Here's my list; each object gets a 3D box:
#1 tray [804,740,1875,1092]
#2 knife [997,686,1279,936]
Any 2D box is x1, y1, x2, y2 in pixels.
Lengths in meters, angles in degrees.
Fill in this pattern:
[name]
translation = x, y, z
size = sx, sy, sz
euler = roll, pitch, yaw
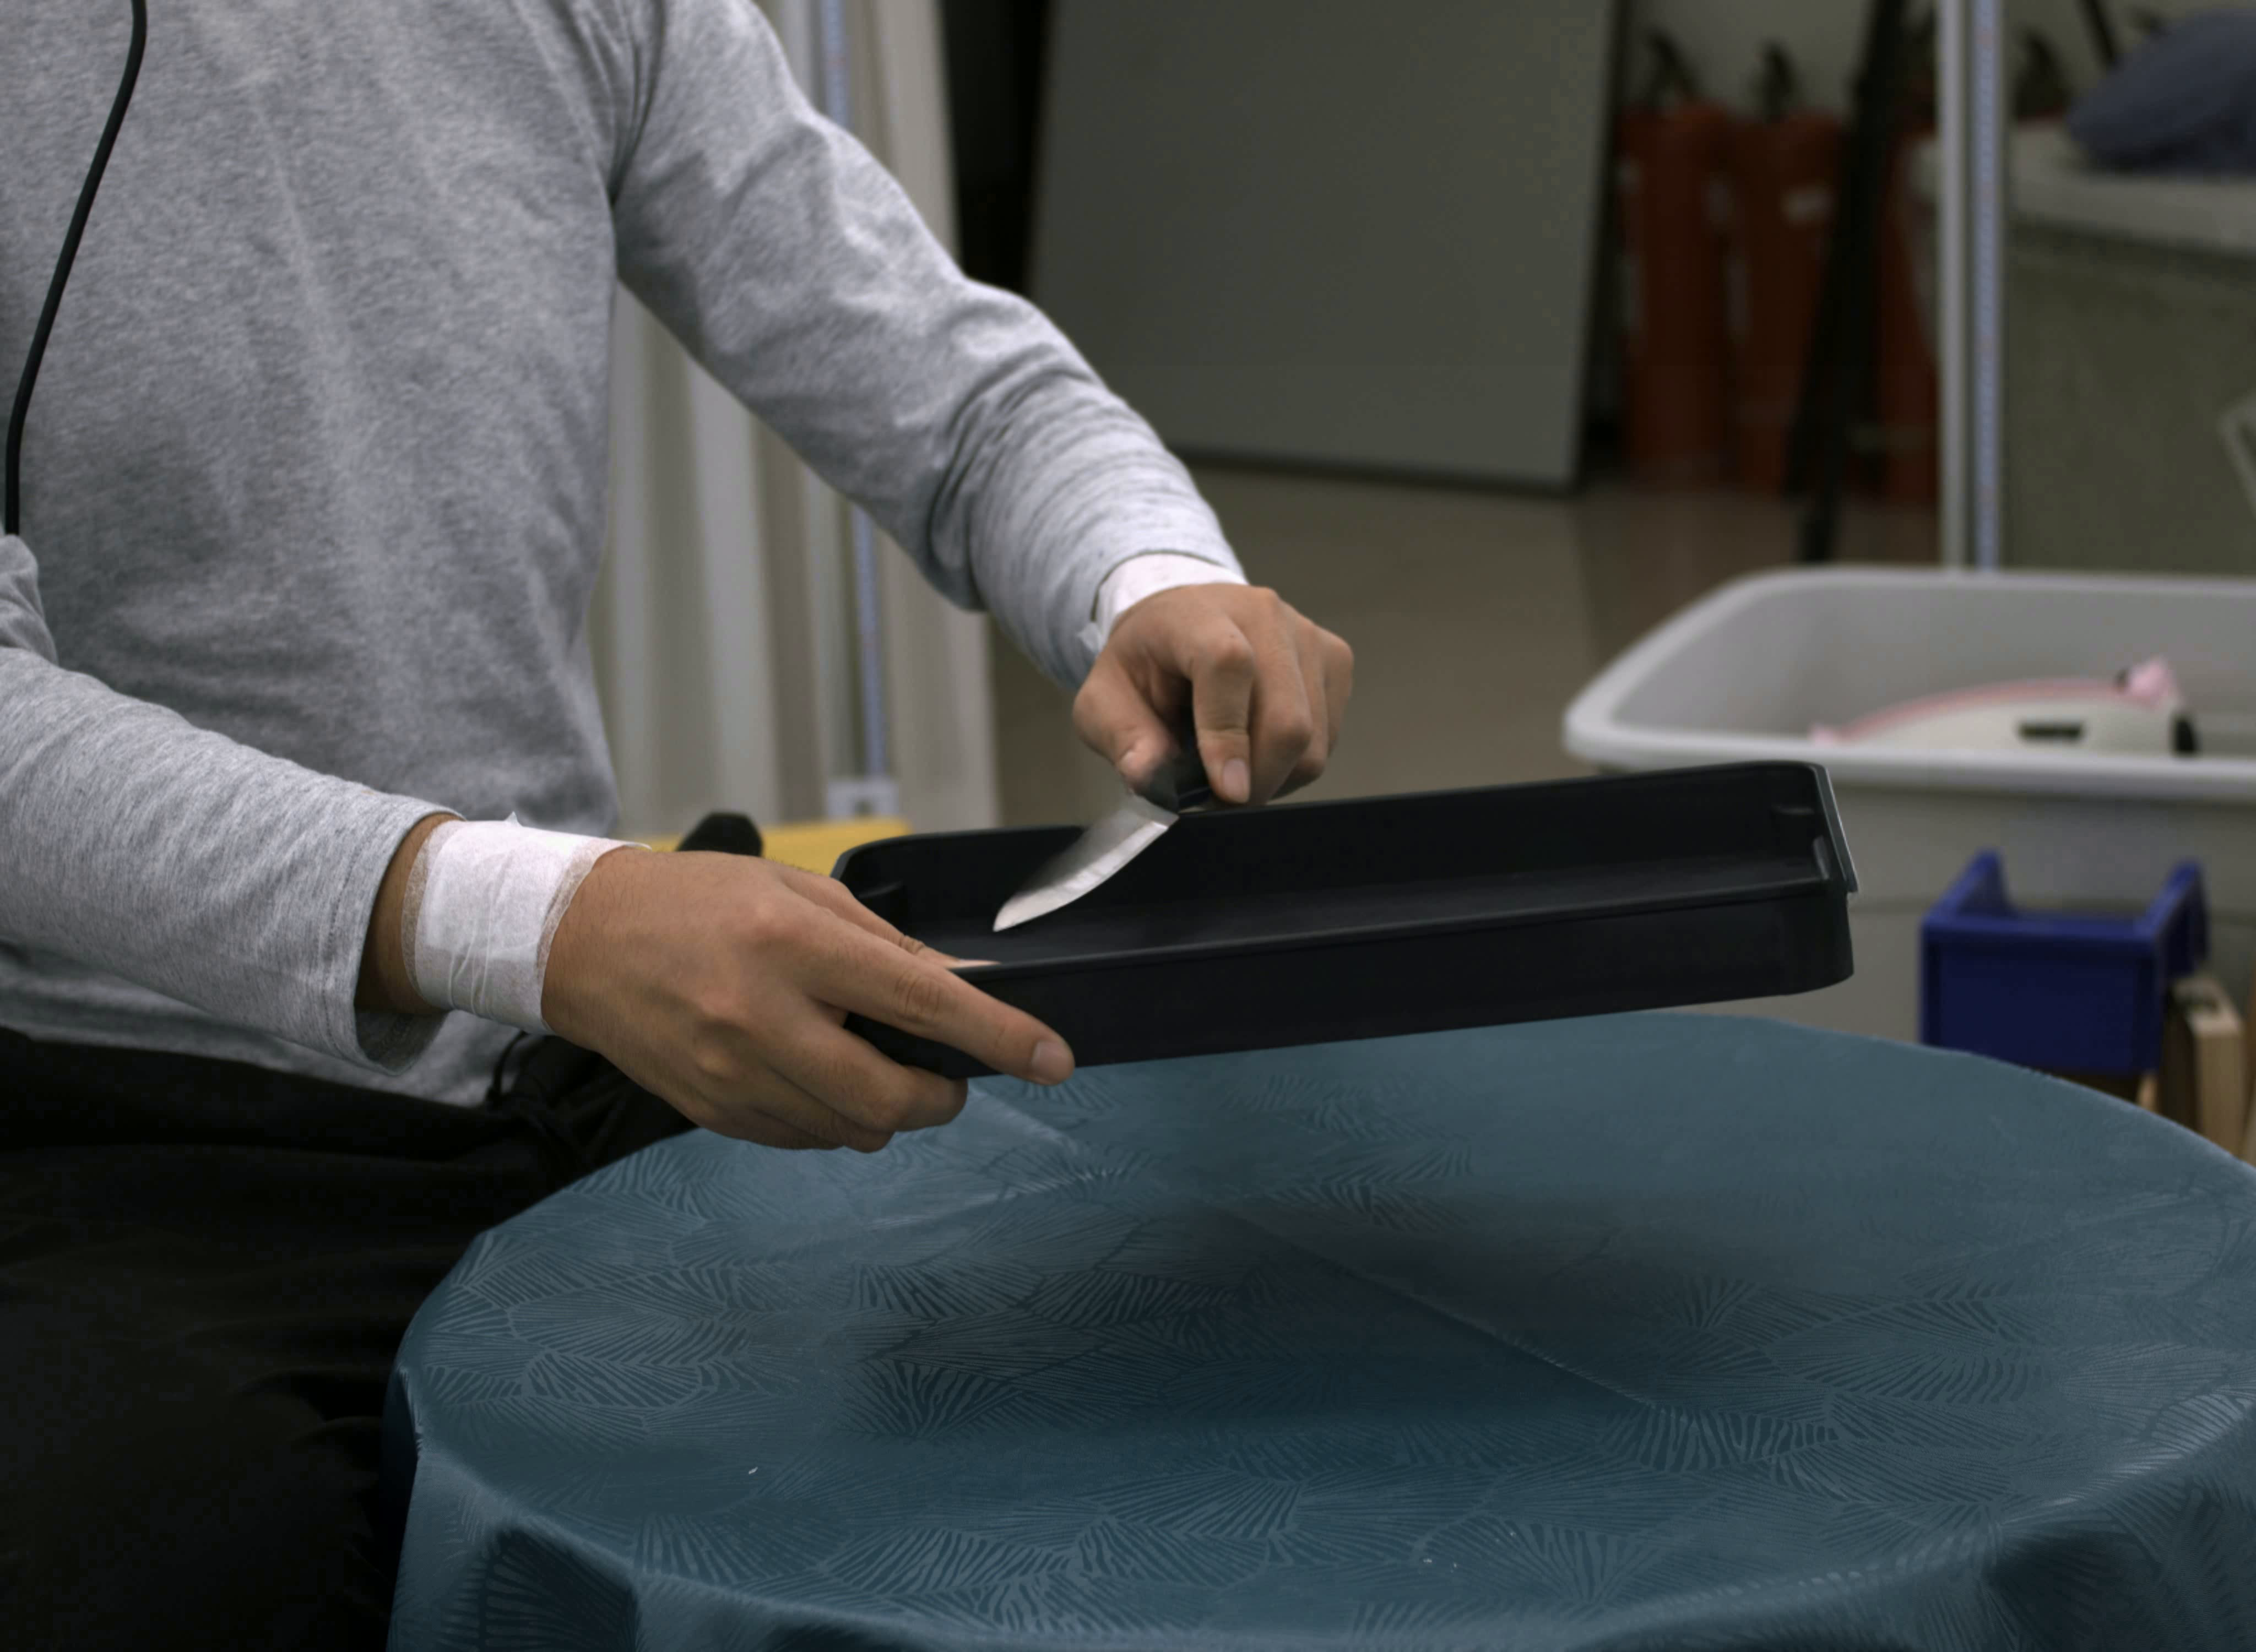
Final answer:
[tray]
translation = 0.066, 0.025, 1.636
size = 0.315, 0.037, 0.184
euler = -7, 11, 6
[knife]
translation = 0.001, -0.005, 1.706
size = 0.024, 0.016, 0.236
euler = 20, 24, 14
